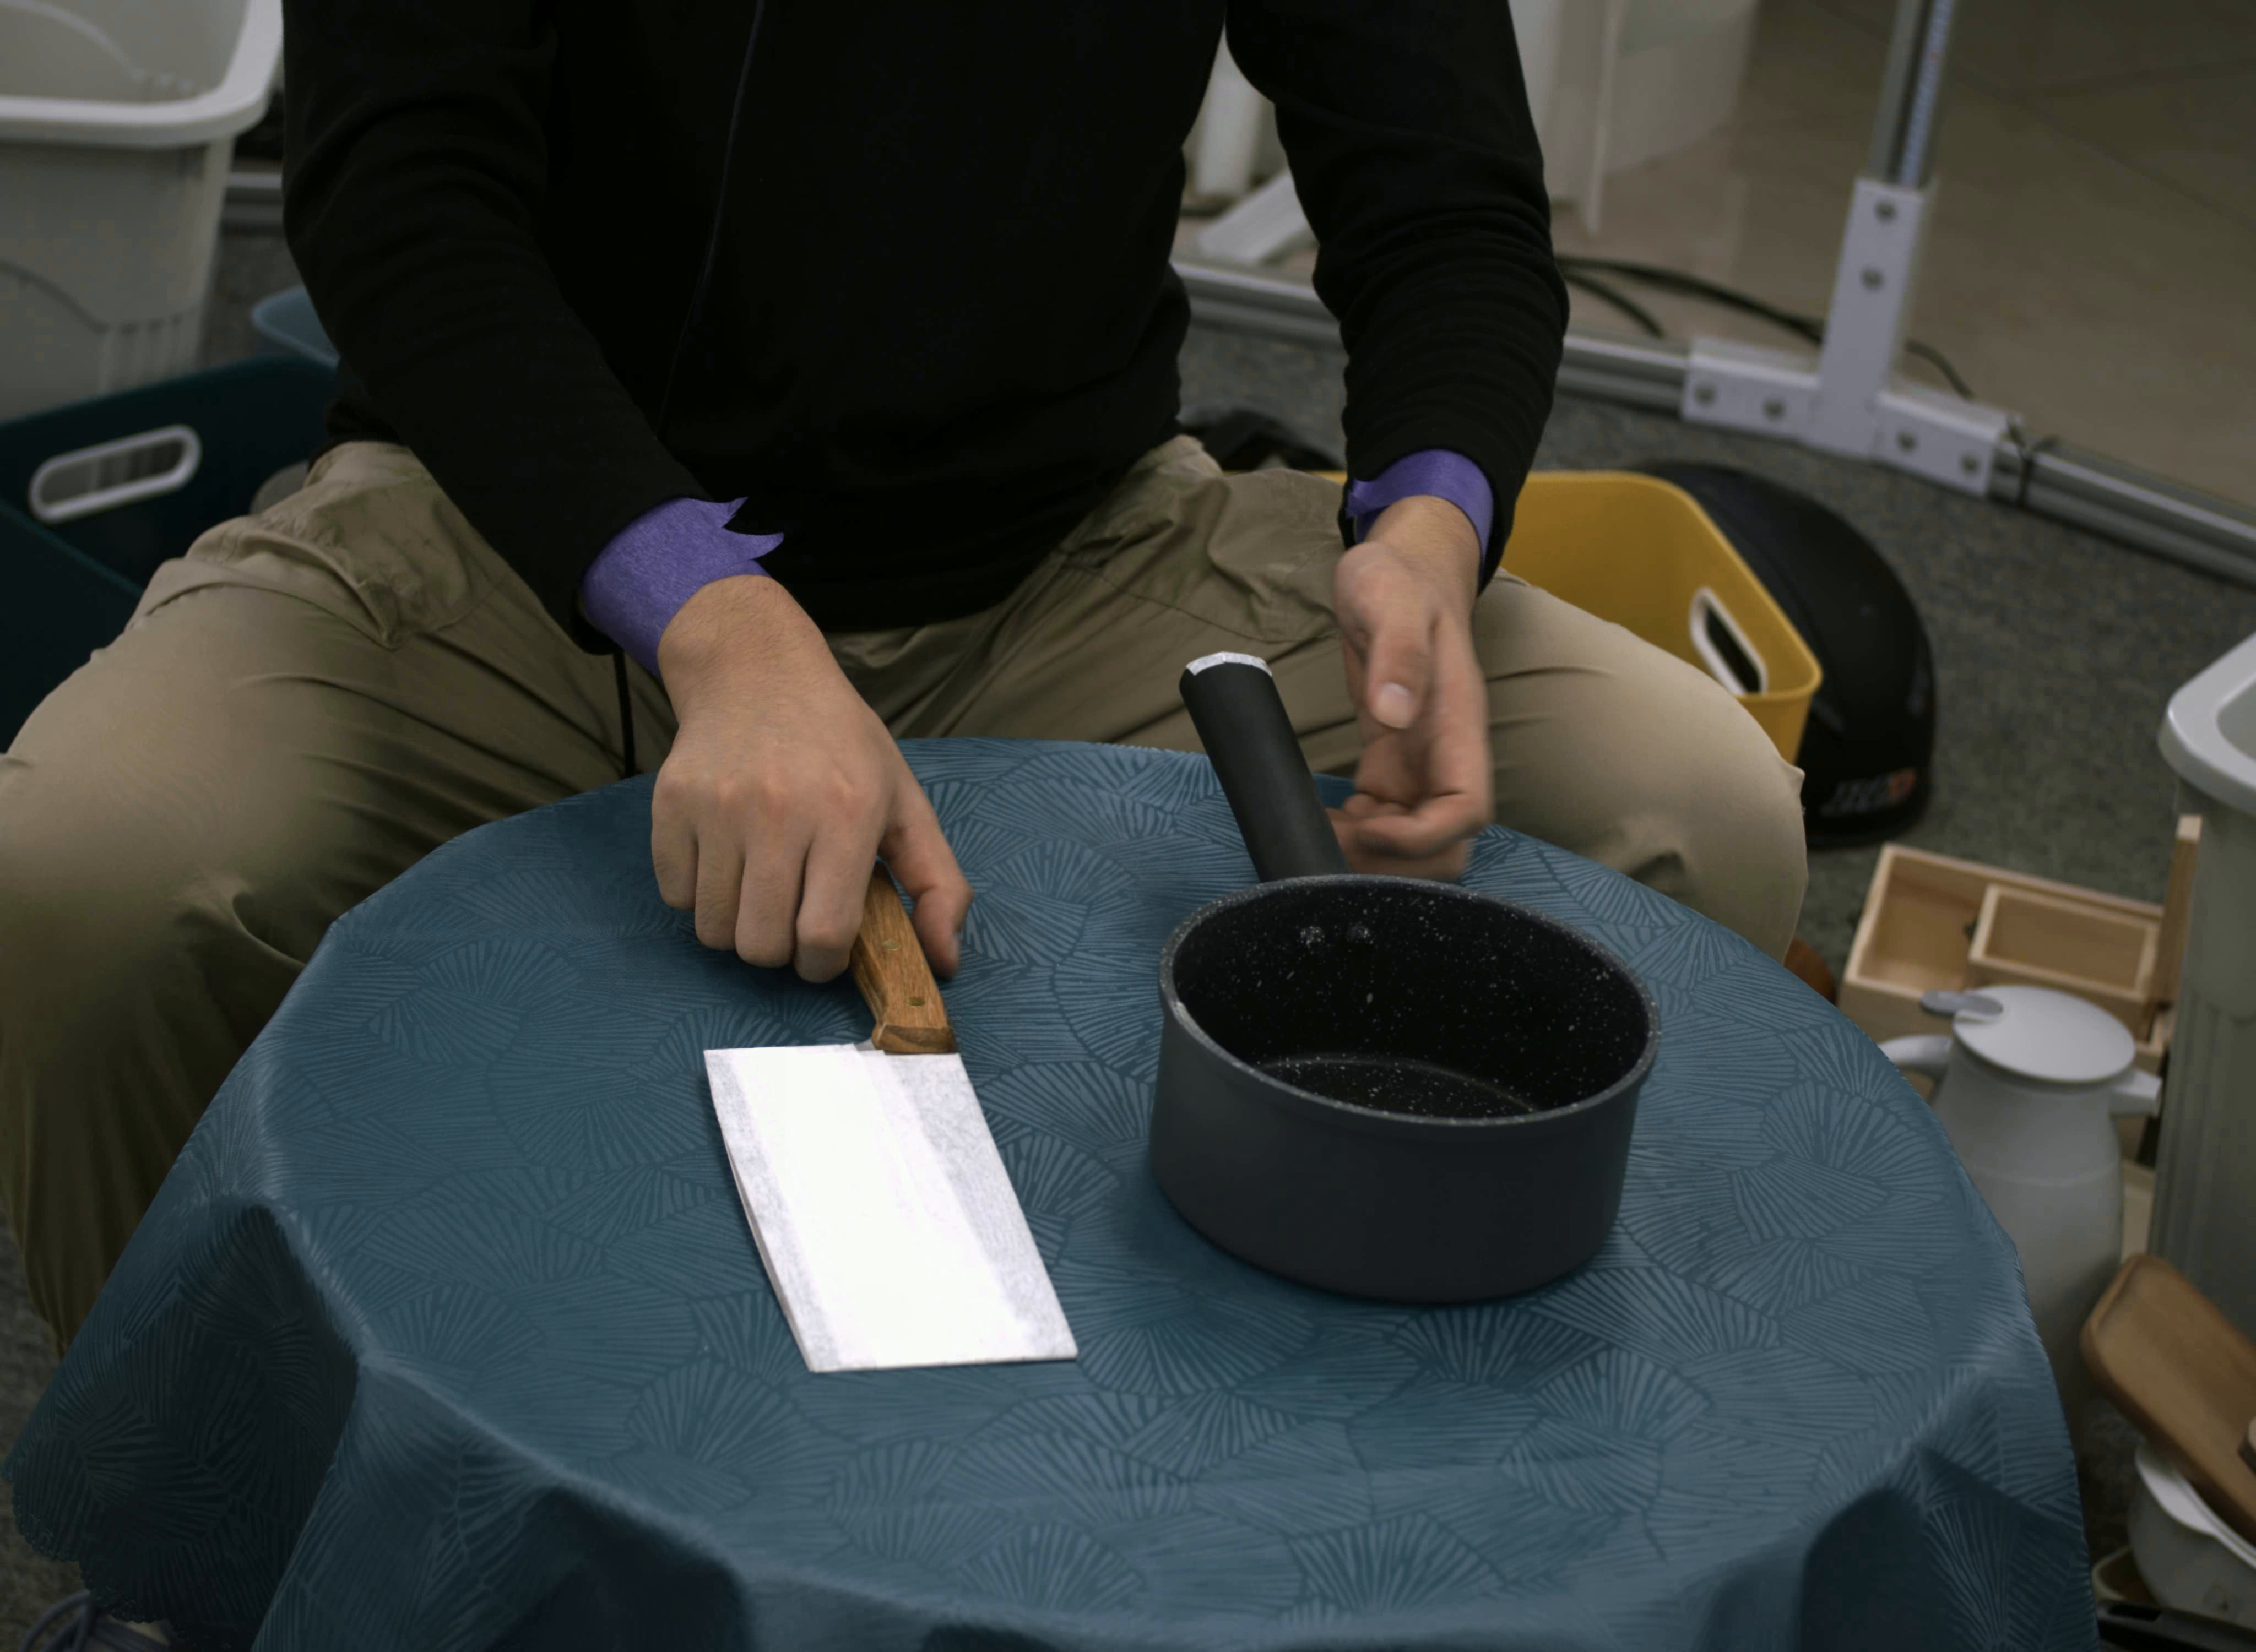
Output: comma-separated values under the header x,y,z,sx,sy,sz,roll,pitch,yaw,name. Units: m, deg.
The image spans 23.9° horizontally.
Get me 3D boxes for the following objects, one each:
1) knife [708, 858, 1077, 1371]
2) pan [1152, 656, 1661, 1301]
x,y,z,sx,sy,sz,roll,pitch,yaw,name
-0.093,0.095,1.823,0.092,0.021,0.308,-2,30,-15,knife
0.074,0.050,1.877,0.171,0.086,0.331,0,28,-13,pan
